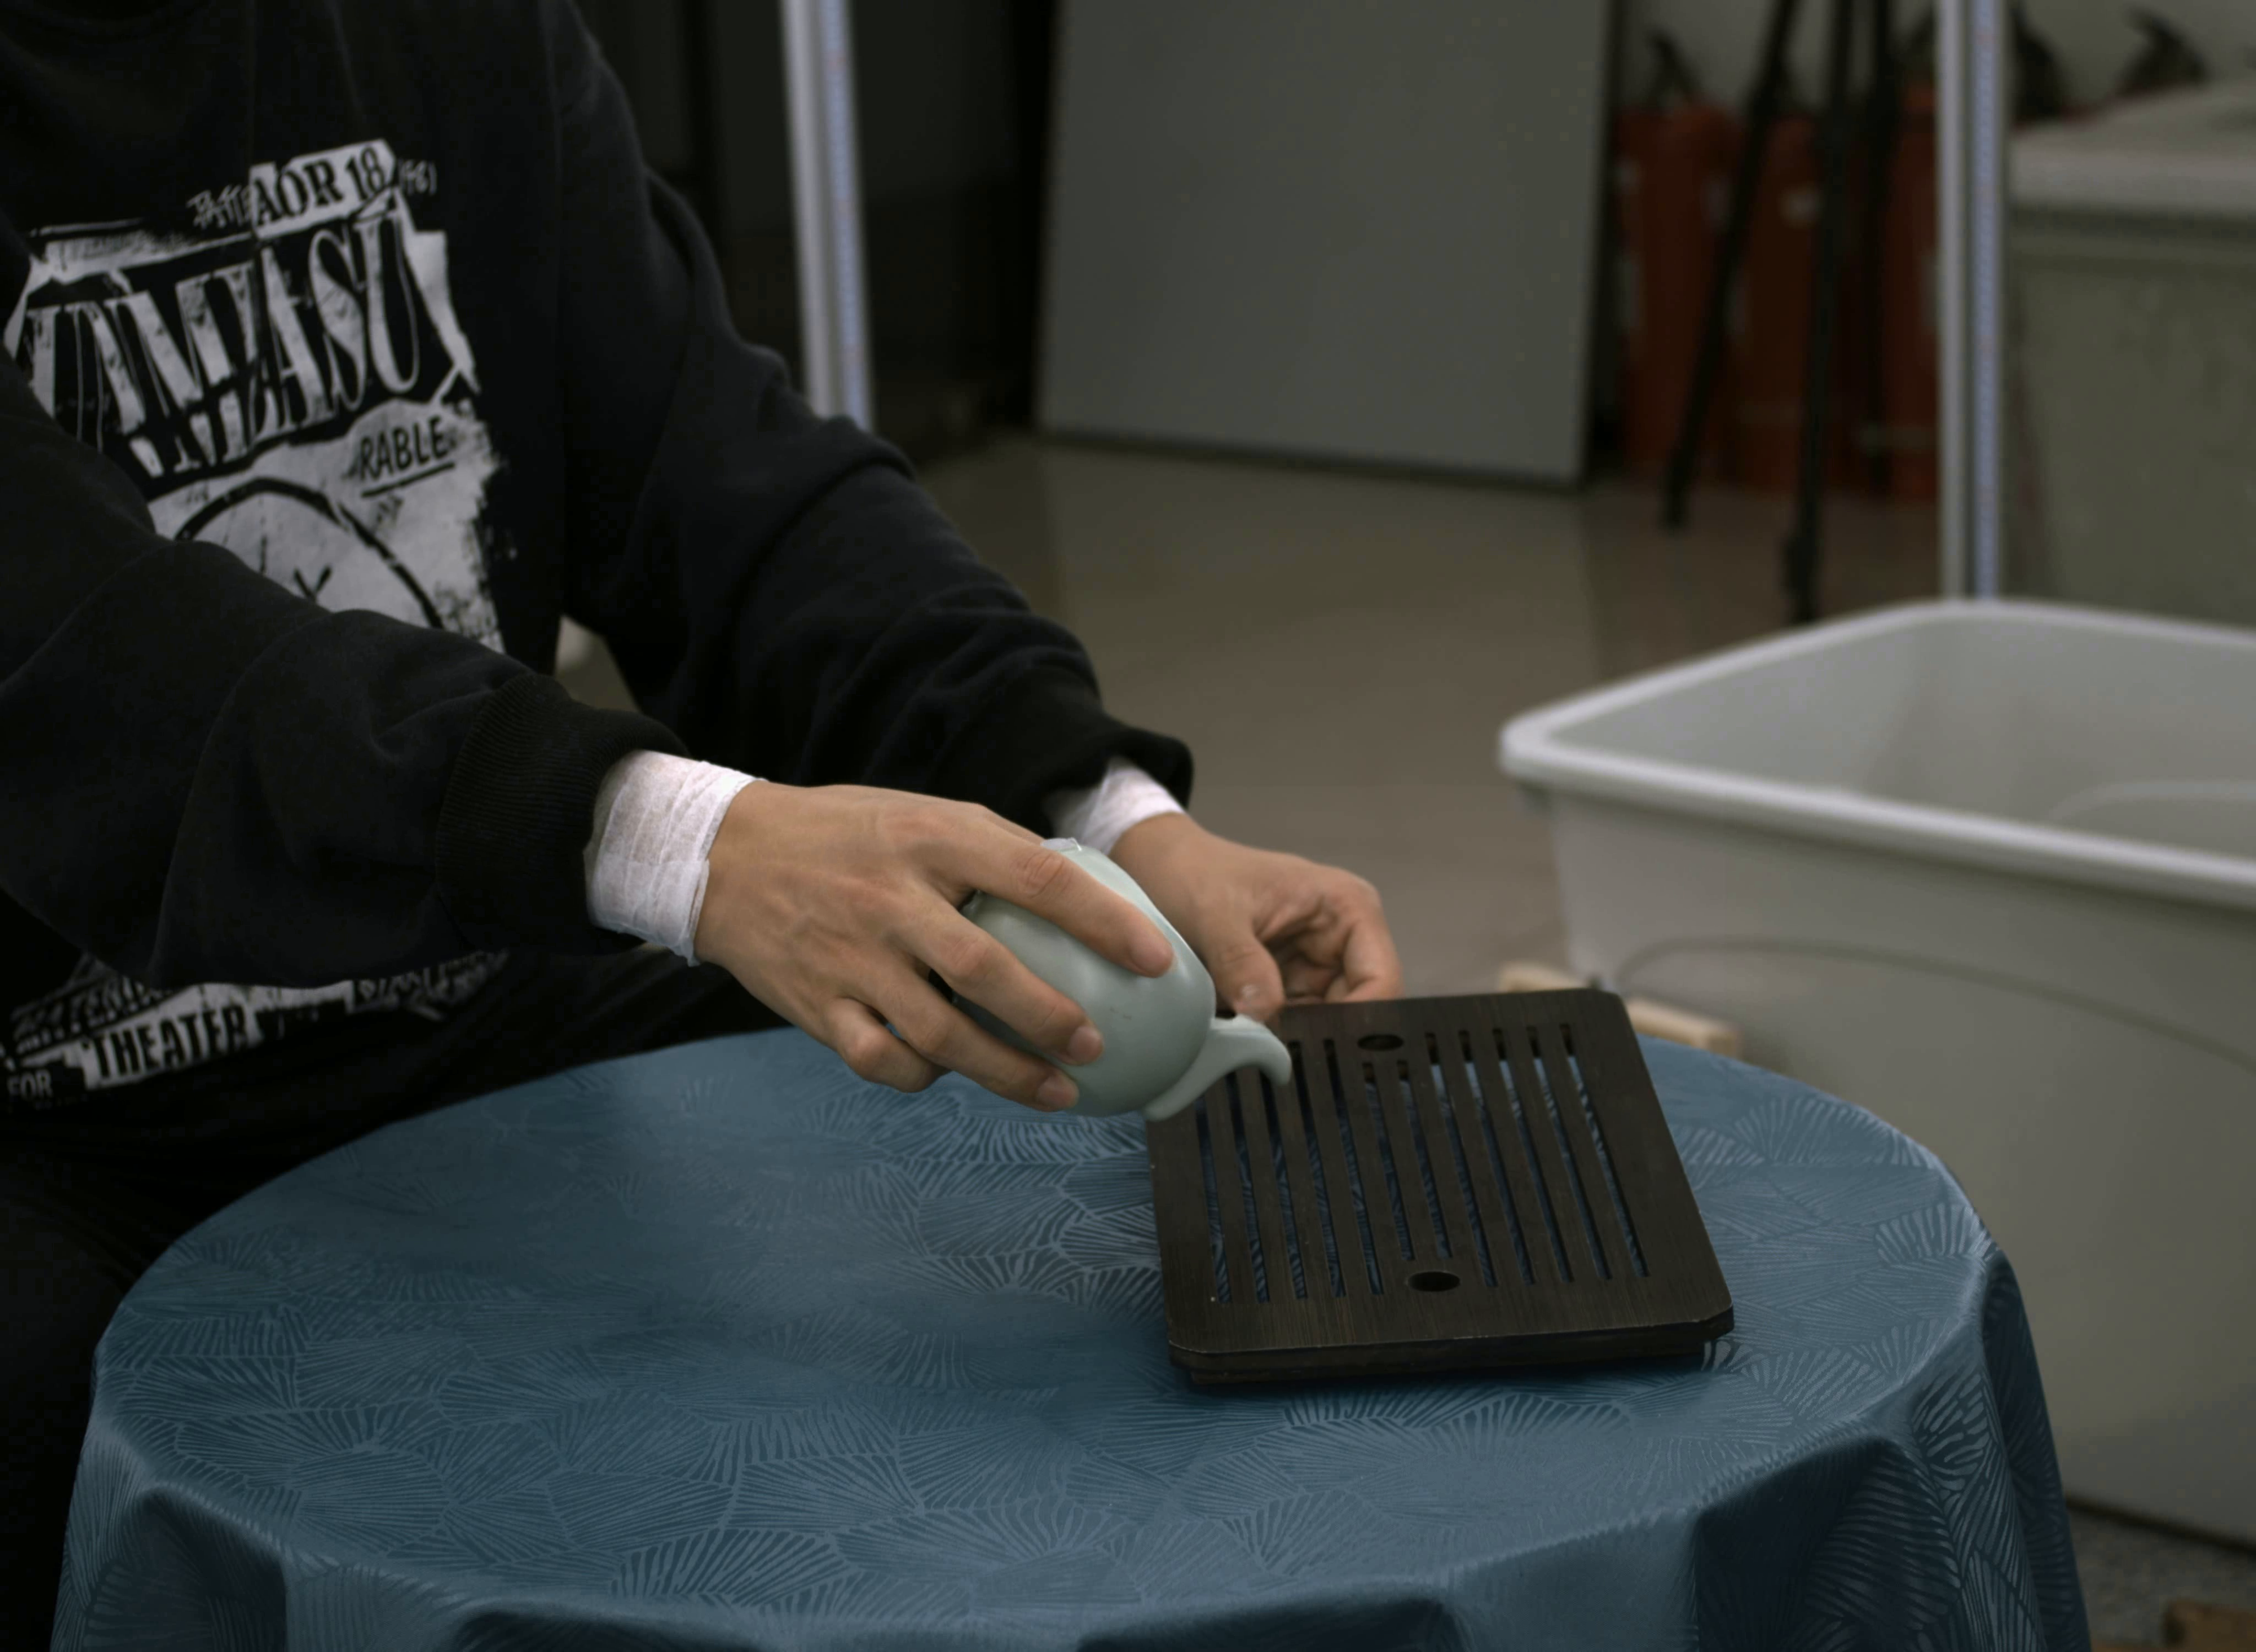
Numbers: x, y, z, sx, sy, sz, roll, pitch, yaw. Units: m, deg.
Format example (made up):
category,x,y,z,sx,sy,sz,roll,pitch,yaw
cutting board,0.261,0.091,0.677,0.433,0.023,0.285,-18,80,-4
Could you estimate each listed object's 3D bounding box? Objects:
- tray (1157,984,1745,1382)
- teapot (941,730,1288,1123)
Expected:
category,x,y,z,sx,sy,sz,roll,pitch,yaw
tray,0.095,0.111,1.718,0.168,0.019,0.306,-5,17,0
teapot,-0.015,0.046,1.664,0.074,0.143,0.089,-38,16,-6
